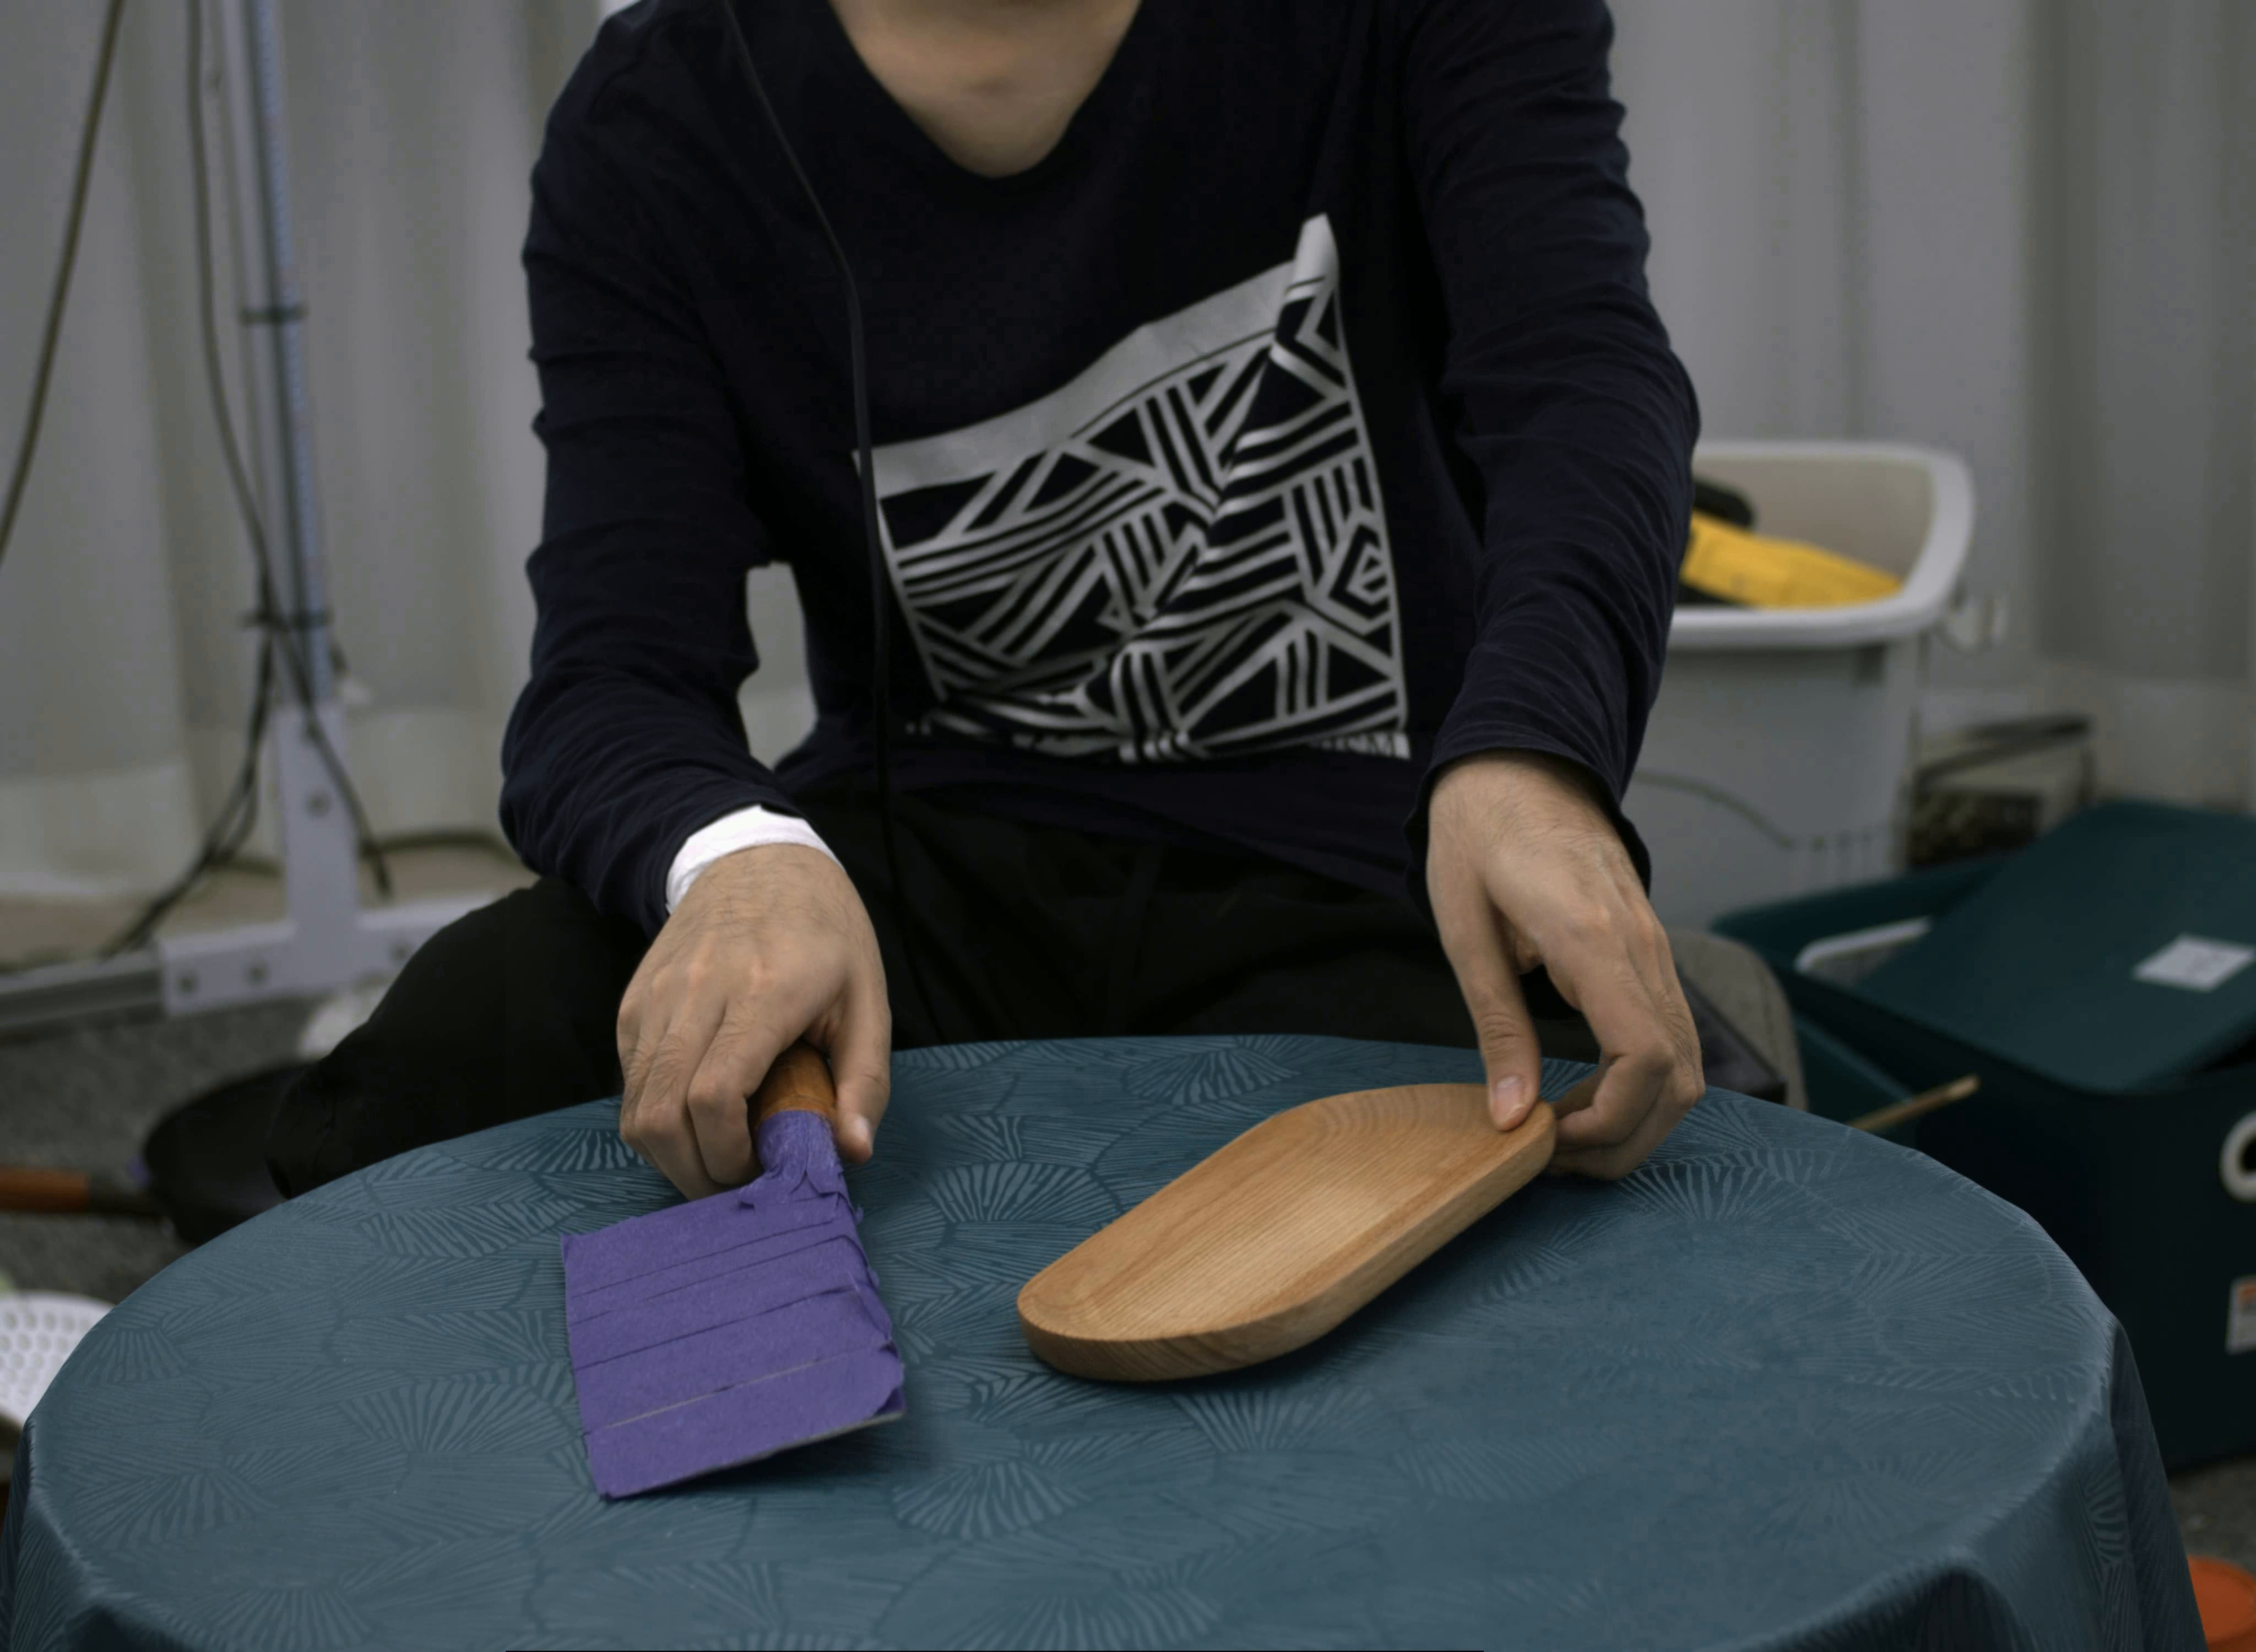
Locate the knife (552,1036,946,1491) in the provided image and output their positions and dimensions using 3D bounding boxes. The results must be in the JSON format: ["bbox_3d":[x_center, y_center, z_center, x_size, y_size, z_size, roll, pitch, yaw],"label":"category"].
[{"bbox_3d":[-0.123,0.126,1.631,0.103,0.032,0.317,-14,15,-5],"label":"knife"}]

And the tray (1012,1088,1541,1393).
[{"bbox_3d":[0.048,0.122,1.632,0.102,0.020,0.232,-1,17,29],"label":"tray"}]
